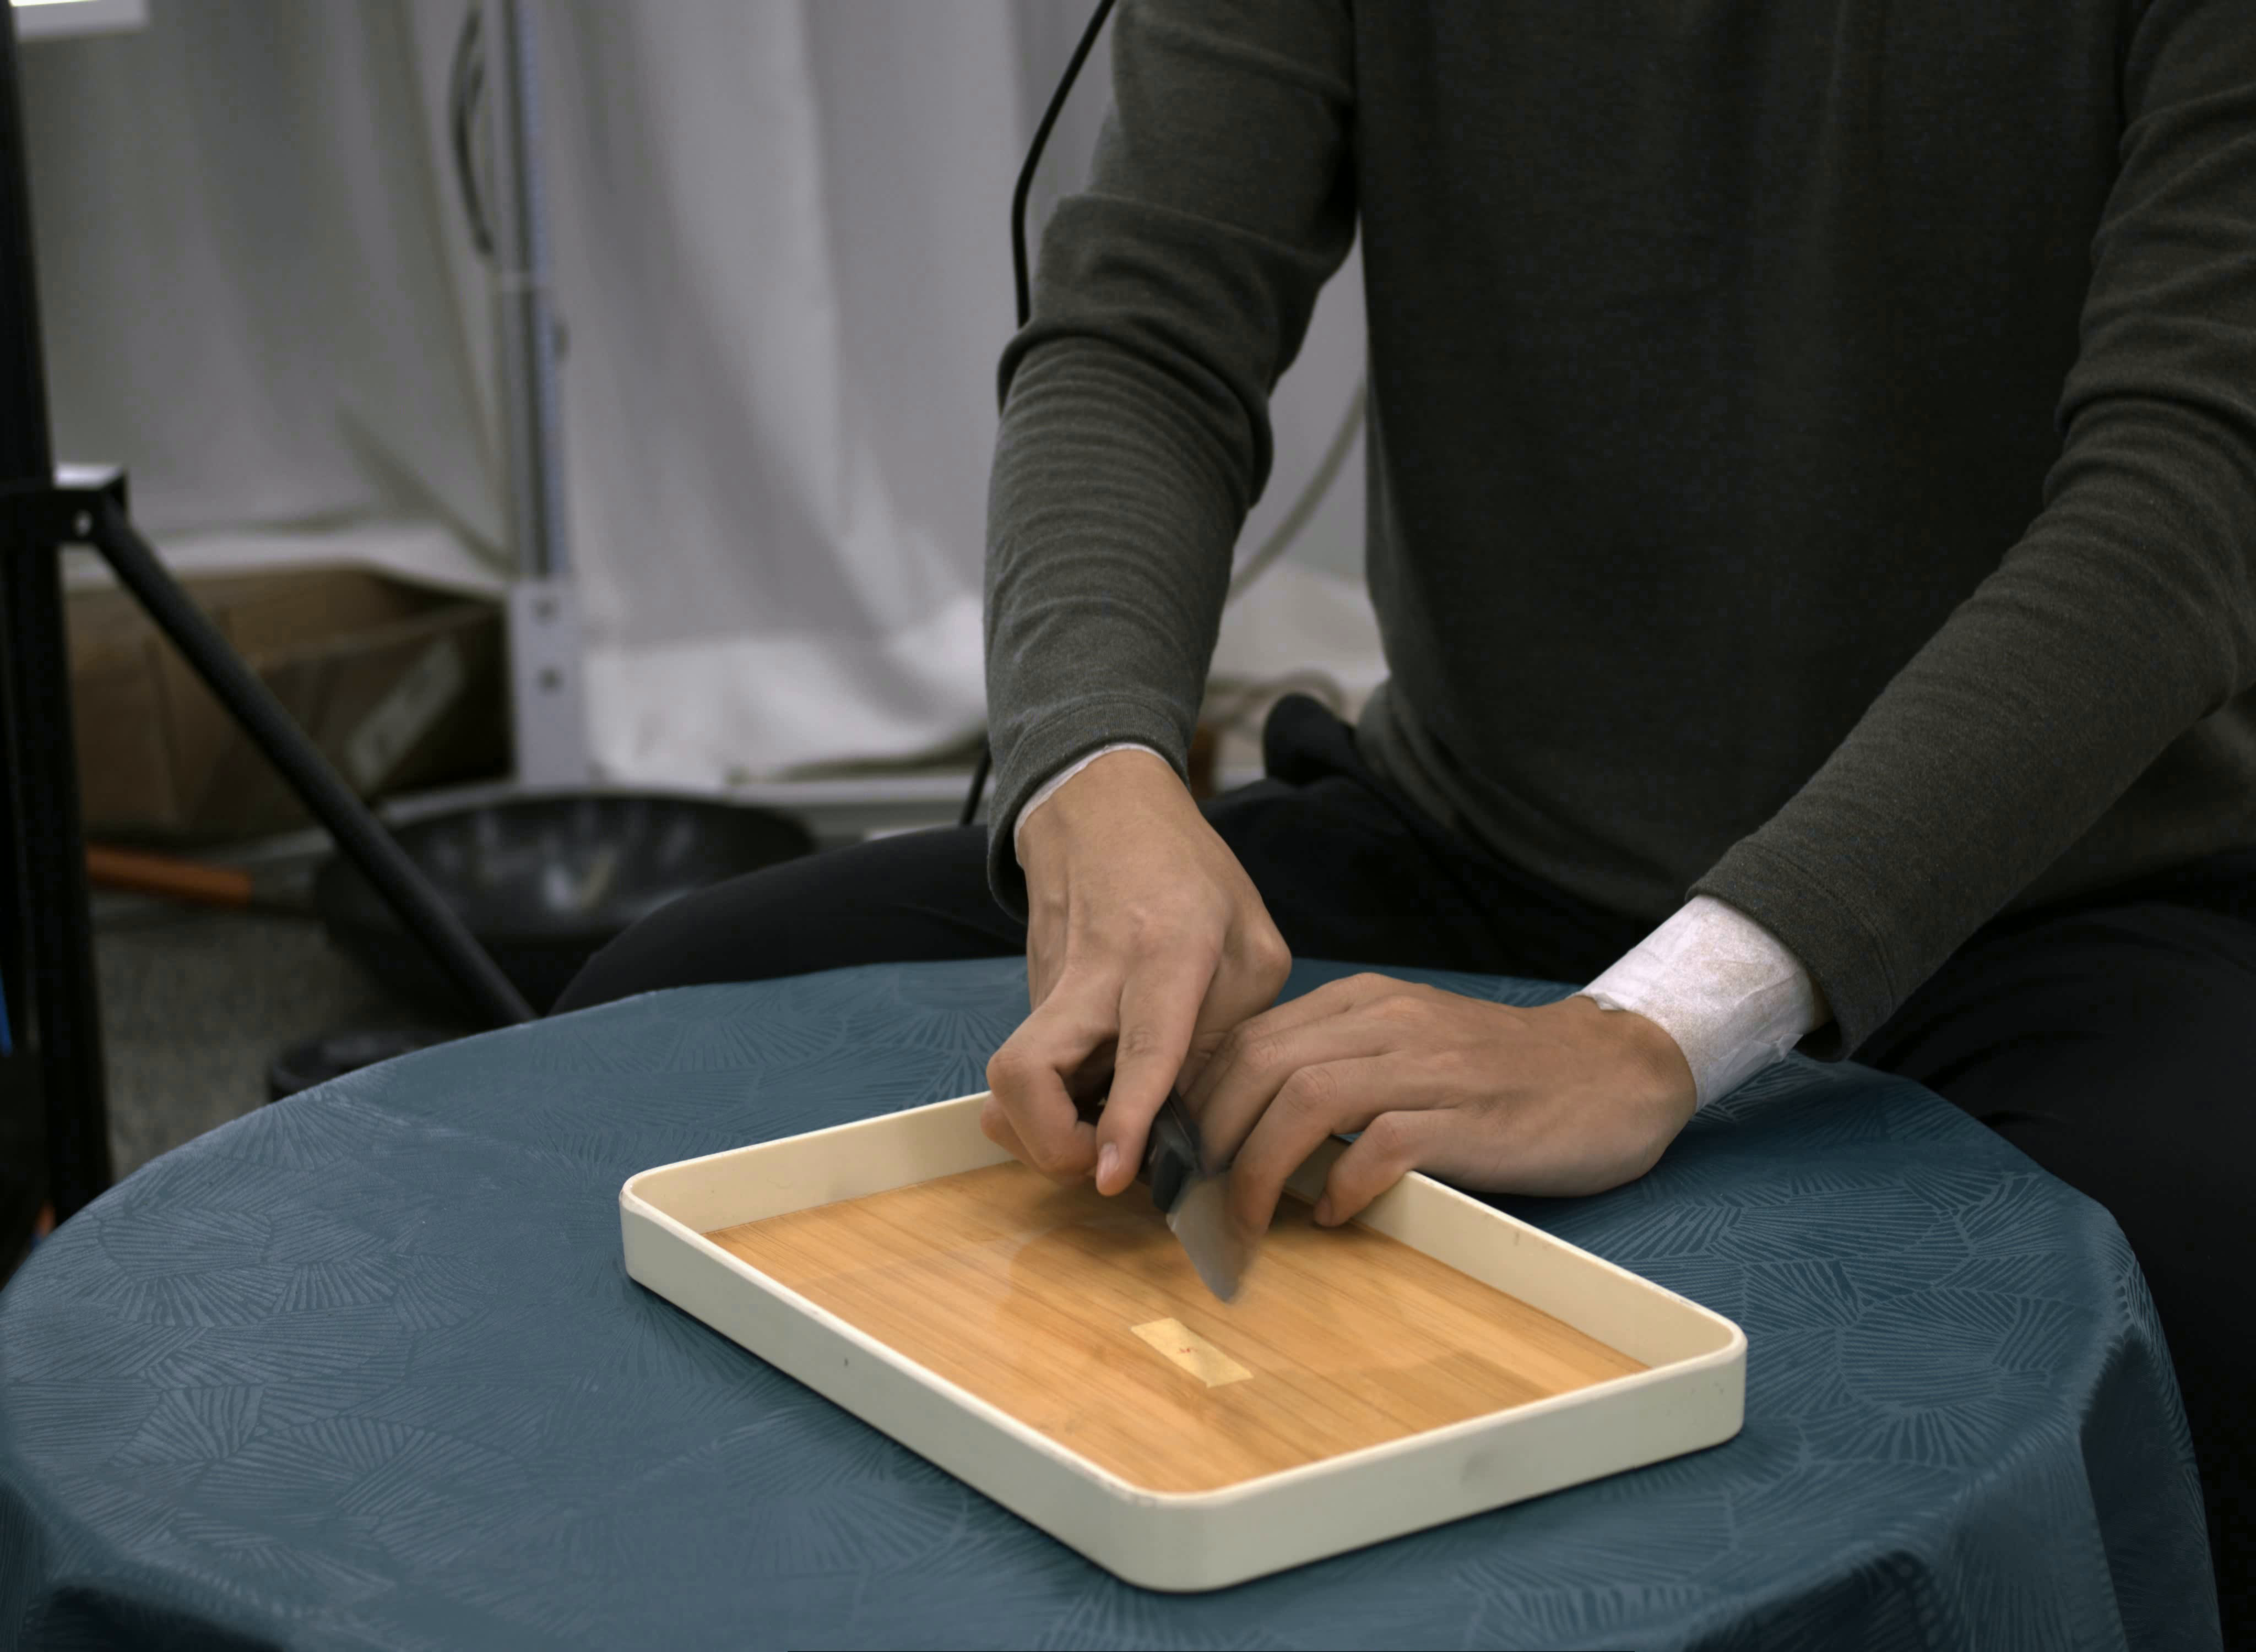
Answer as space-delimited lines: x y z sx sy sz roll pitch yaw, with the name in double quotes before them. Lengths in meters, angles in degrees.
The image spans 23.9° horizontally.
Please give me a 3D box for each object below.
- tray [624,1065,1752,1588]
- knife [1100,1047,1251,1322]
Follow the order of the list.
"tray" 0.009 0.129 1.438 0.187 0.027 0.307 -10 18 -29
"knife" 0.016 0.096 1.448 0.016 0.024 0.240 19 9 -11
